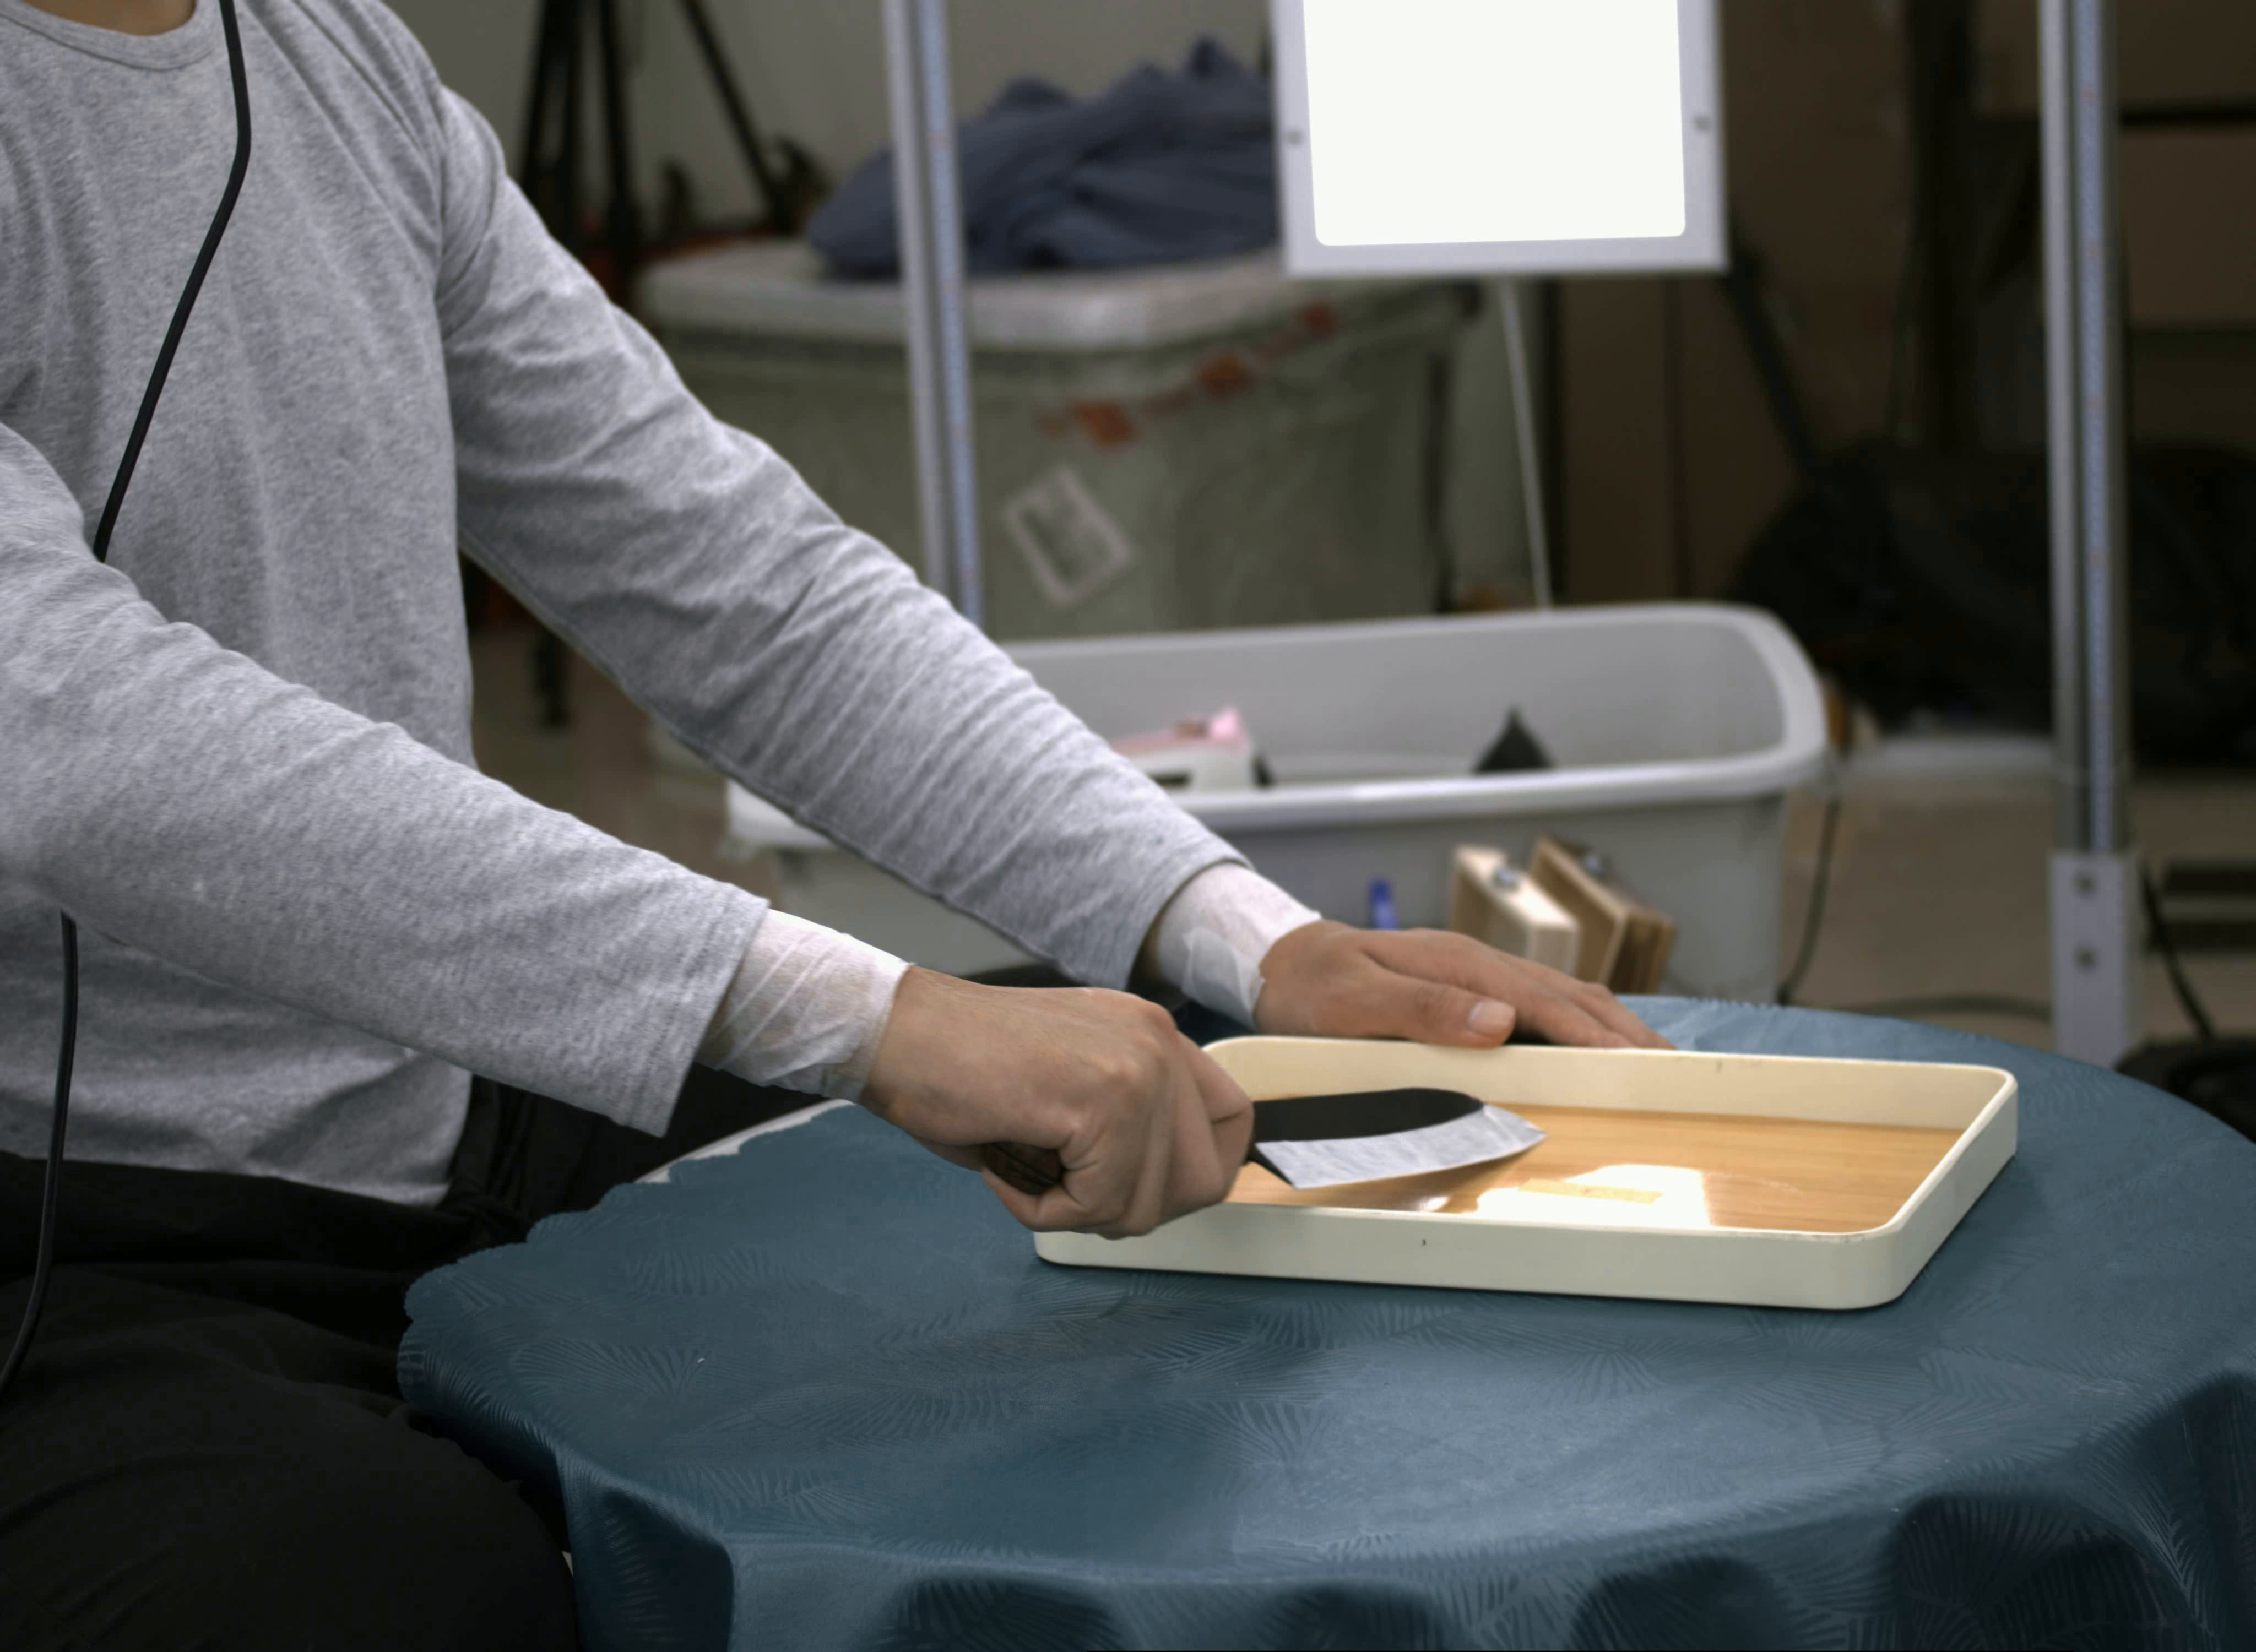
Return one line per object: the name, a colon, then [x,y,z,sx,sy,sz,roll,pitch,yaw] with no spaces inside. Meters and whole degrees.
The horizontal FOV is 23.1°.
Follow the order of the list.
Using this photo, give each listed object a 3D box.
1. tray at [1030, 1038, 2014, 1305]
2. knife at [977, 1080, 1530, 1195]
tray: [0.136,0.114,1.849,0.305,0.027,0.188,1,15,25]
knife: [0.048,0.102,1.802,0.282,0.020,0.051,1,37,-51]
